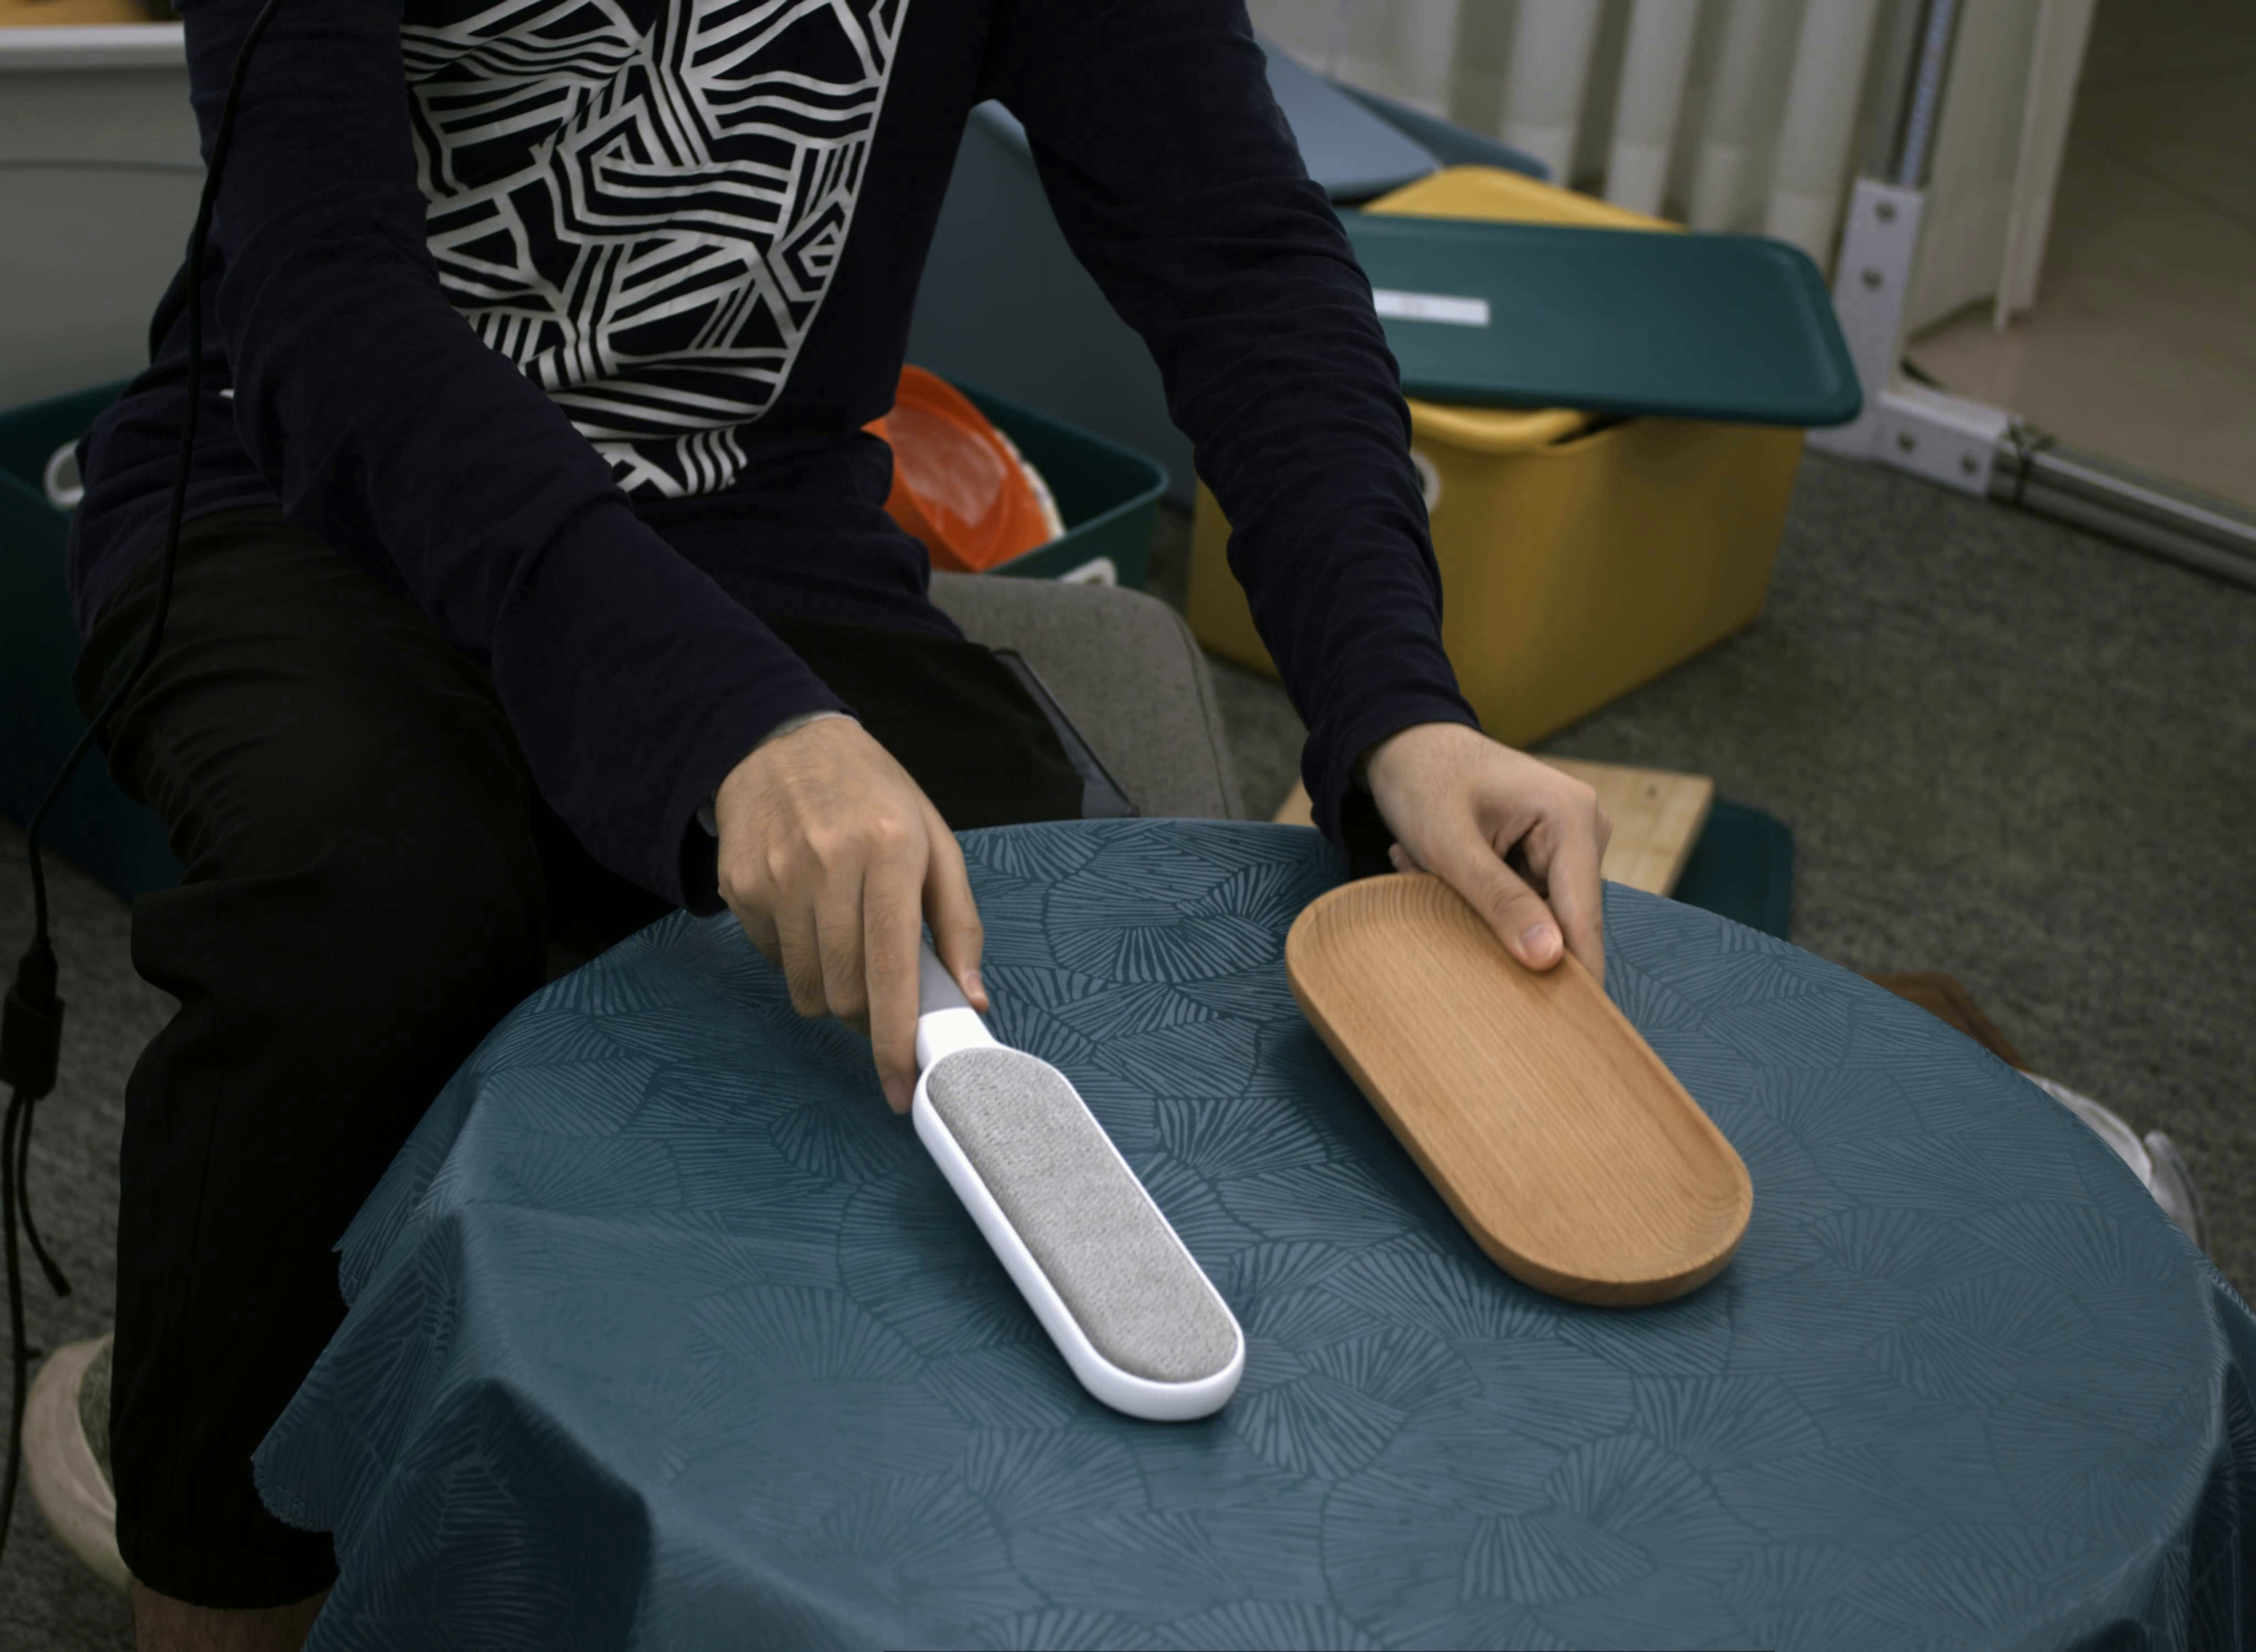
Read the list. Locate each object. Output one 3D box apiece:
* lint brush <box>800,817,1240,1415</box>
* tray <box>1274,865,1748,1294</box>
[{"bbox_3d":[-0.043,0.091,1.784,0.060,0.021,0.312,-13,41,-21],"label":"lint brush"},{"bbox_3d":[0.131,0.086,1.853,0.101,0.020,0.233,-12,38,-23],"label":"tray"}]
